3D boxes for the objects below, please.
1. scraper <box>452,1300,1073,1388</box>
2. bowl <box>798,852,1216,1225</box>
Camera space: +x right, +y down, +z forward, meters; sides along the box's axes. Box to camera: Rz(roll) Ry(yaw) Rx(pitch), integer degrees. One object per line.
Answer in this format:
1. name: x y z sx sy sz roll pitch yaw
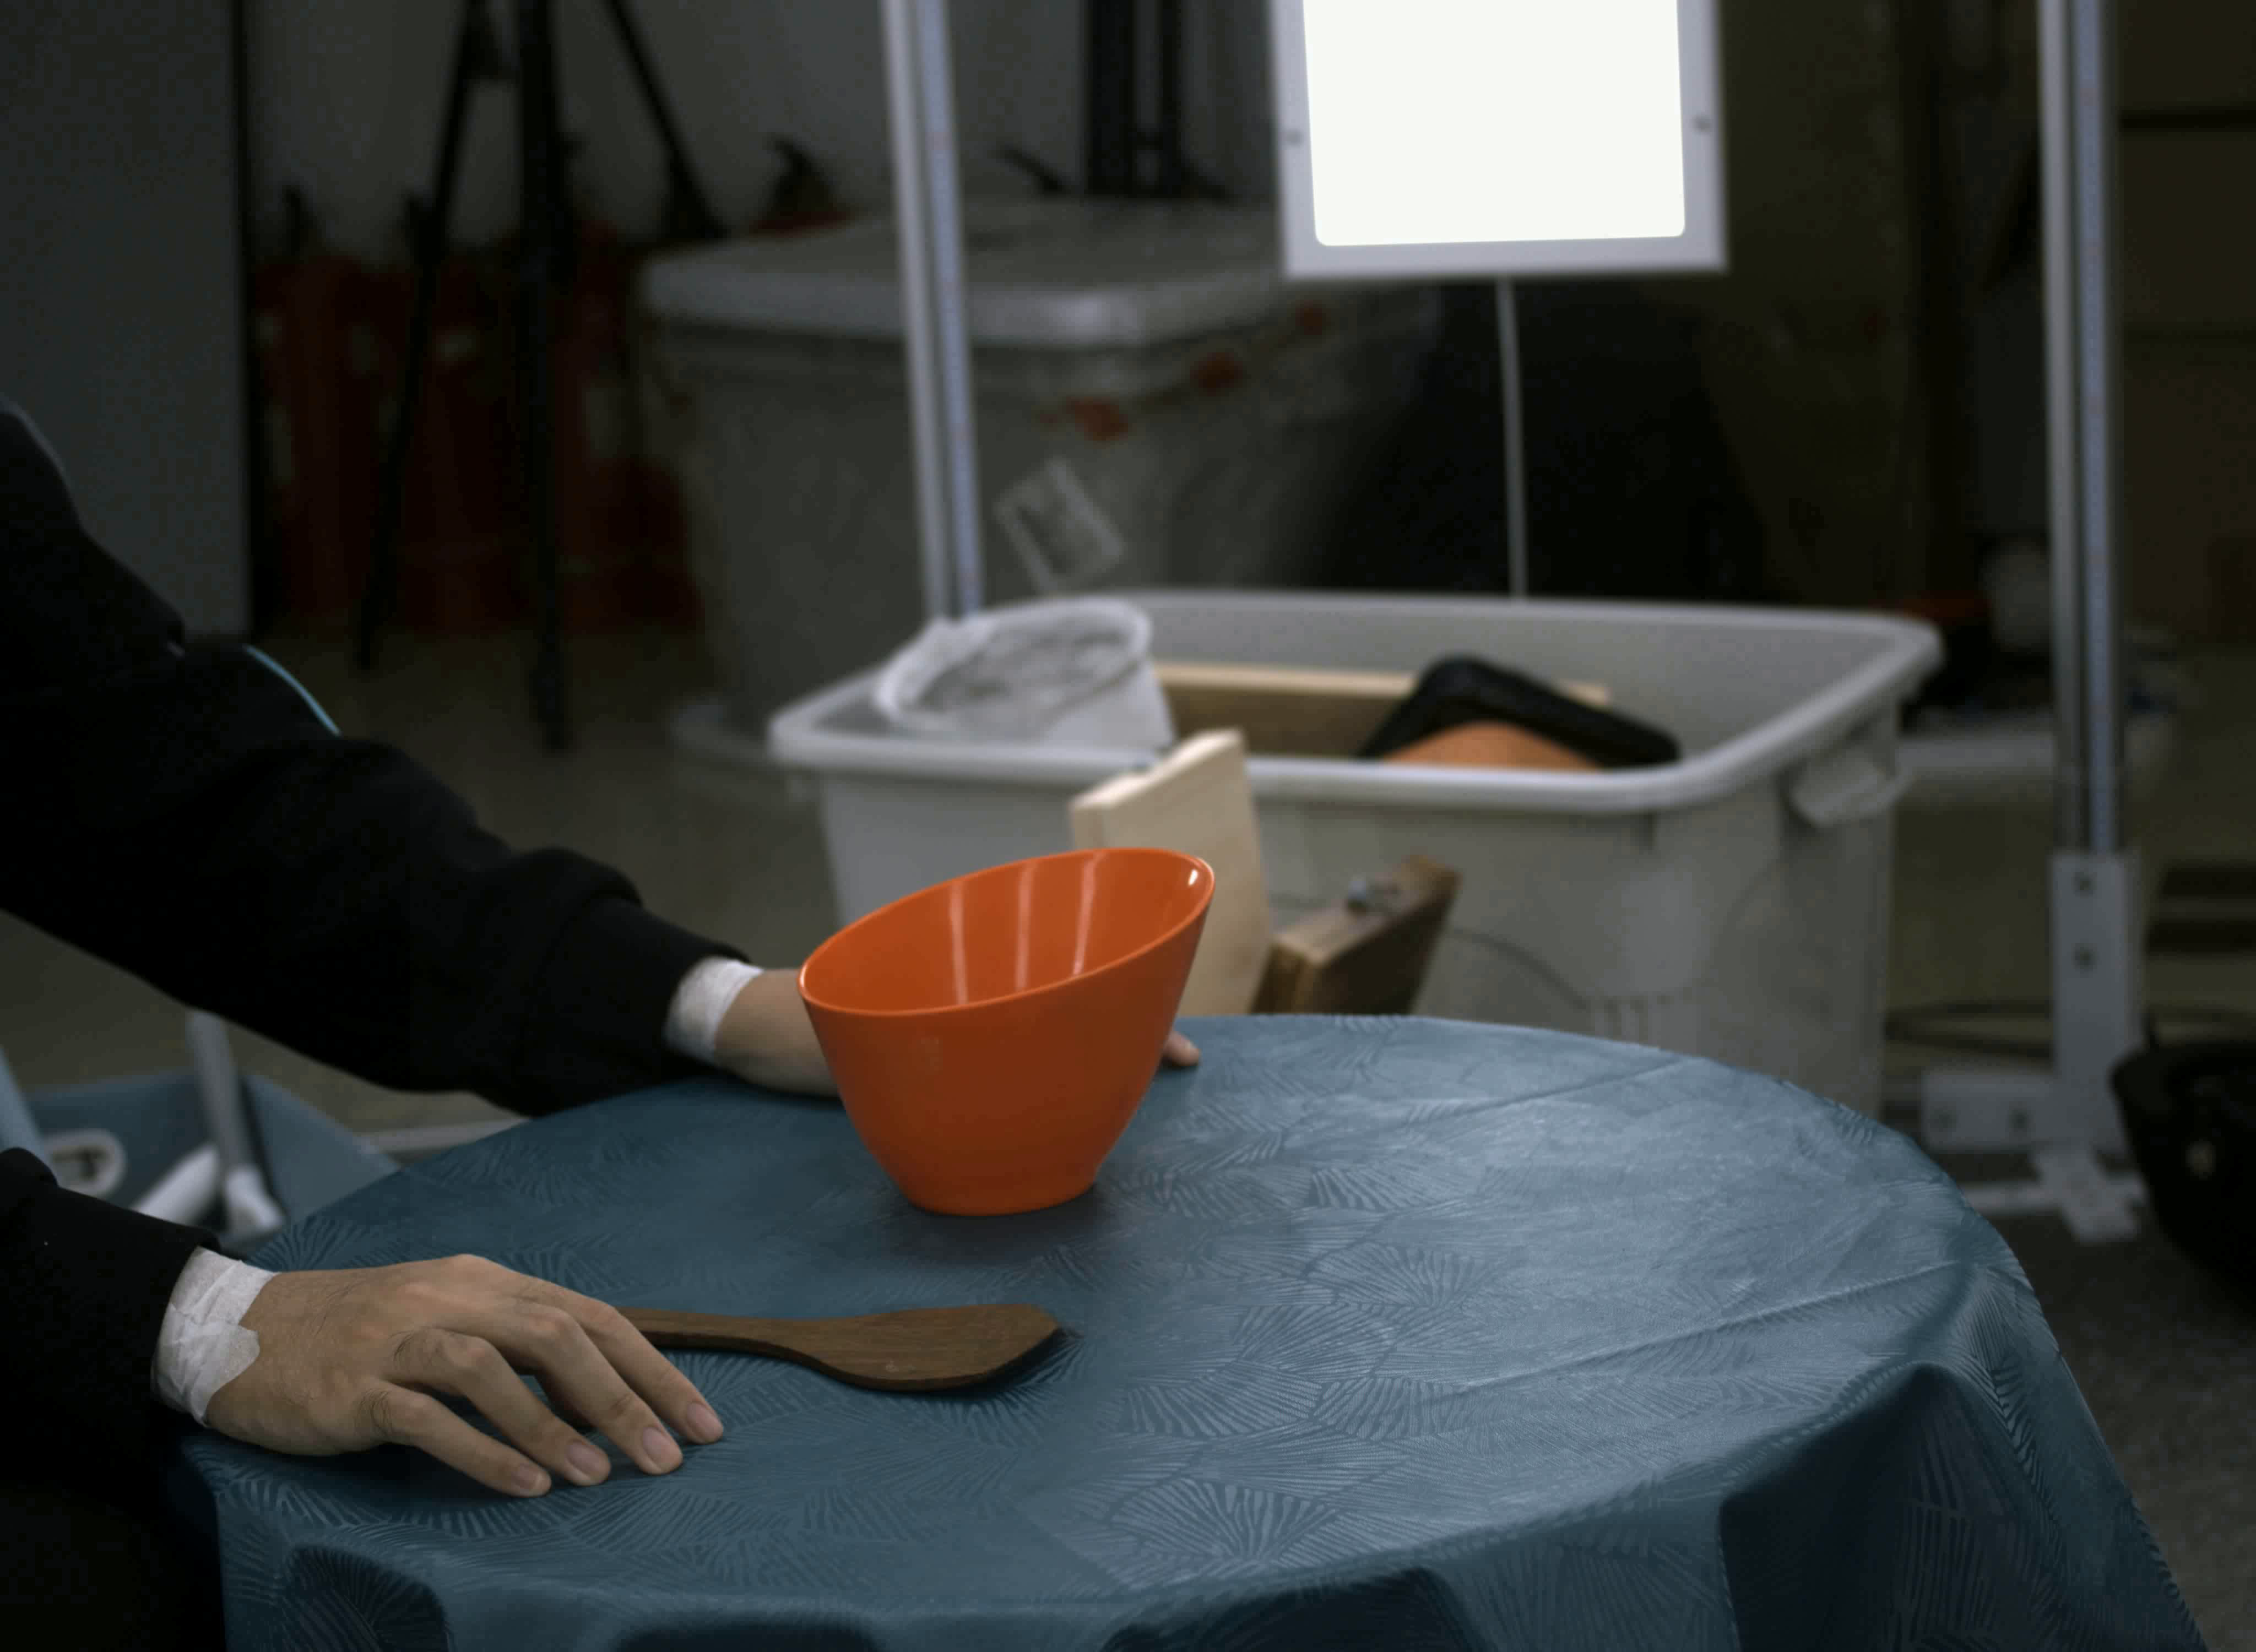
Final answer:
1. scraper: -0.122 0.163 1.775 0.214 0.011 0.074 1 14 25
2. bowl: -0.037 0.077 1.907 0.148 0.105 0.148 -6 14 0
